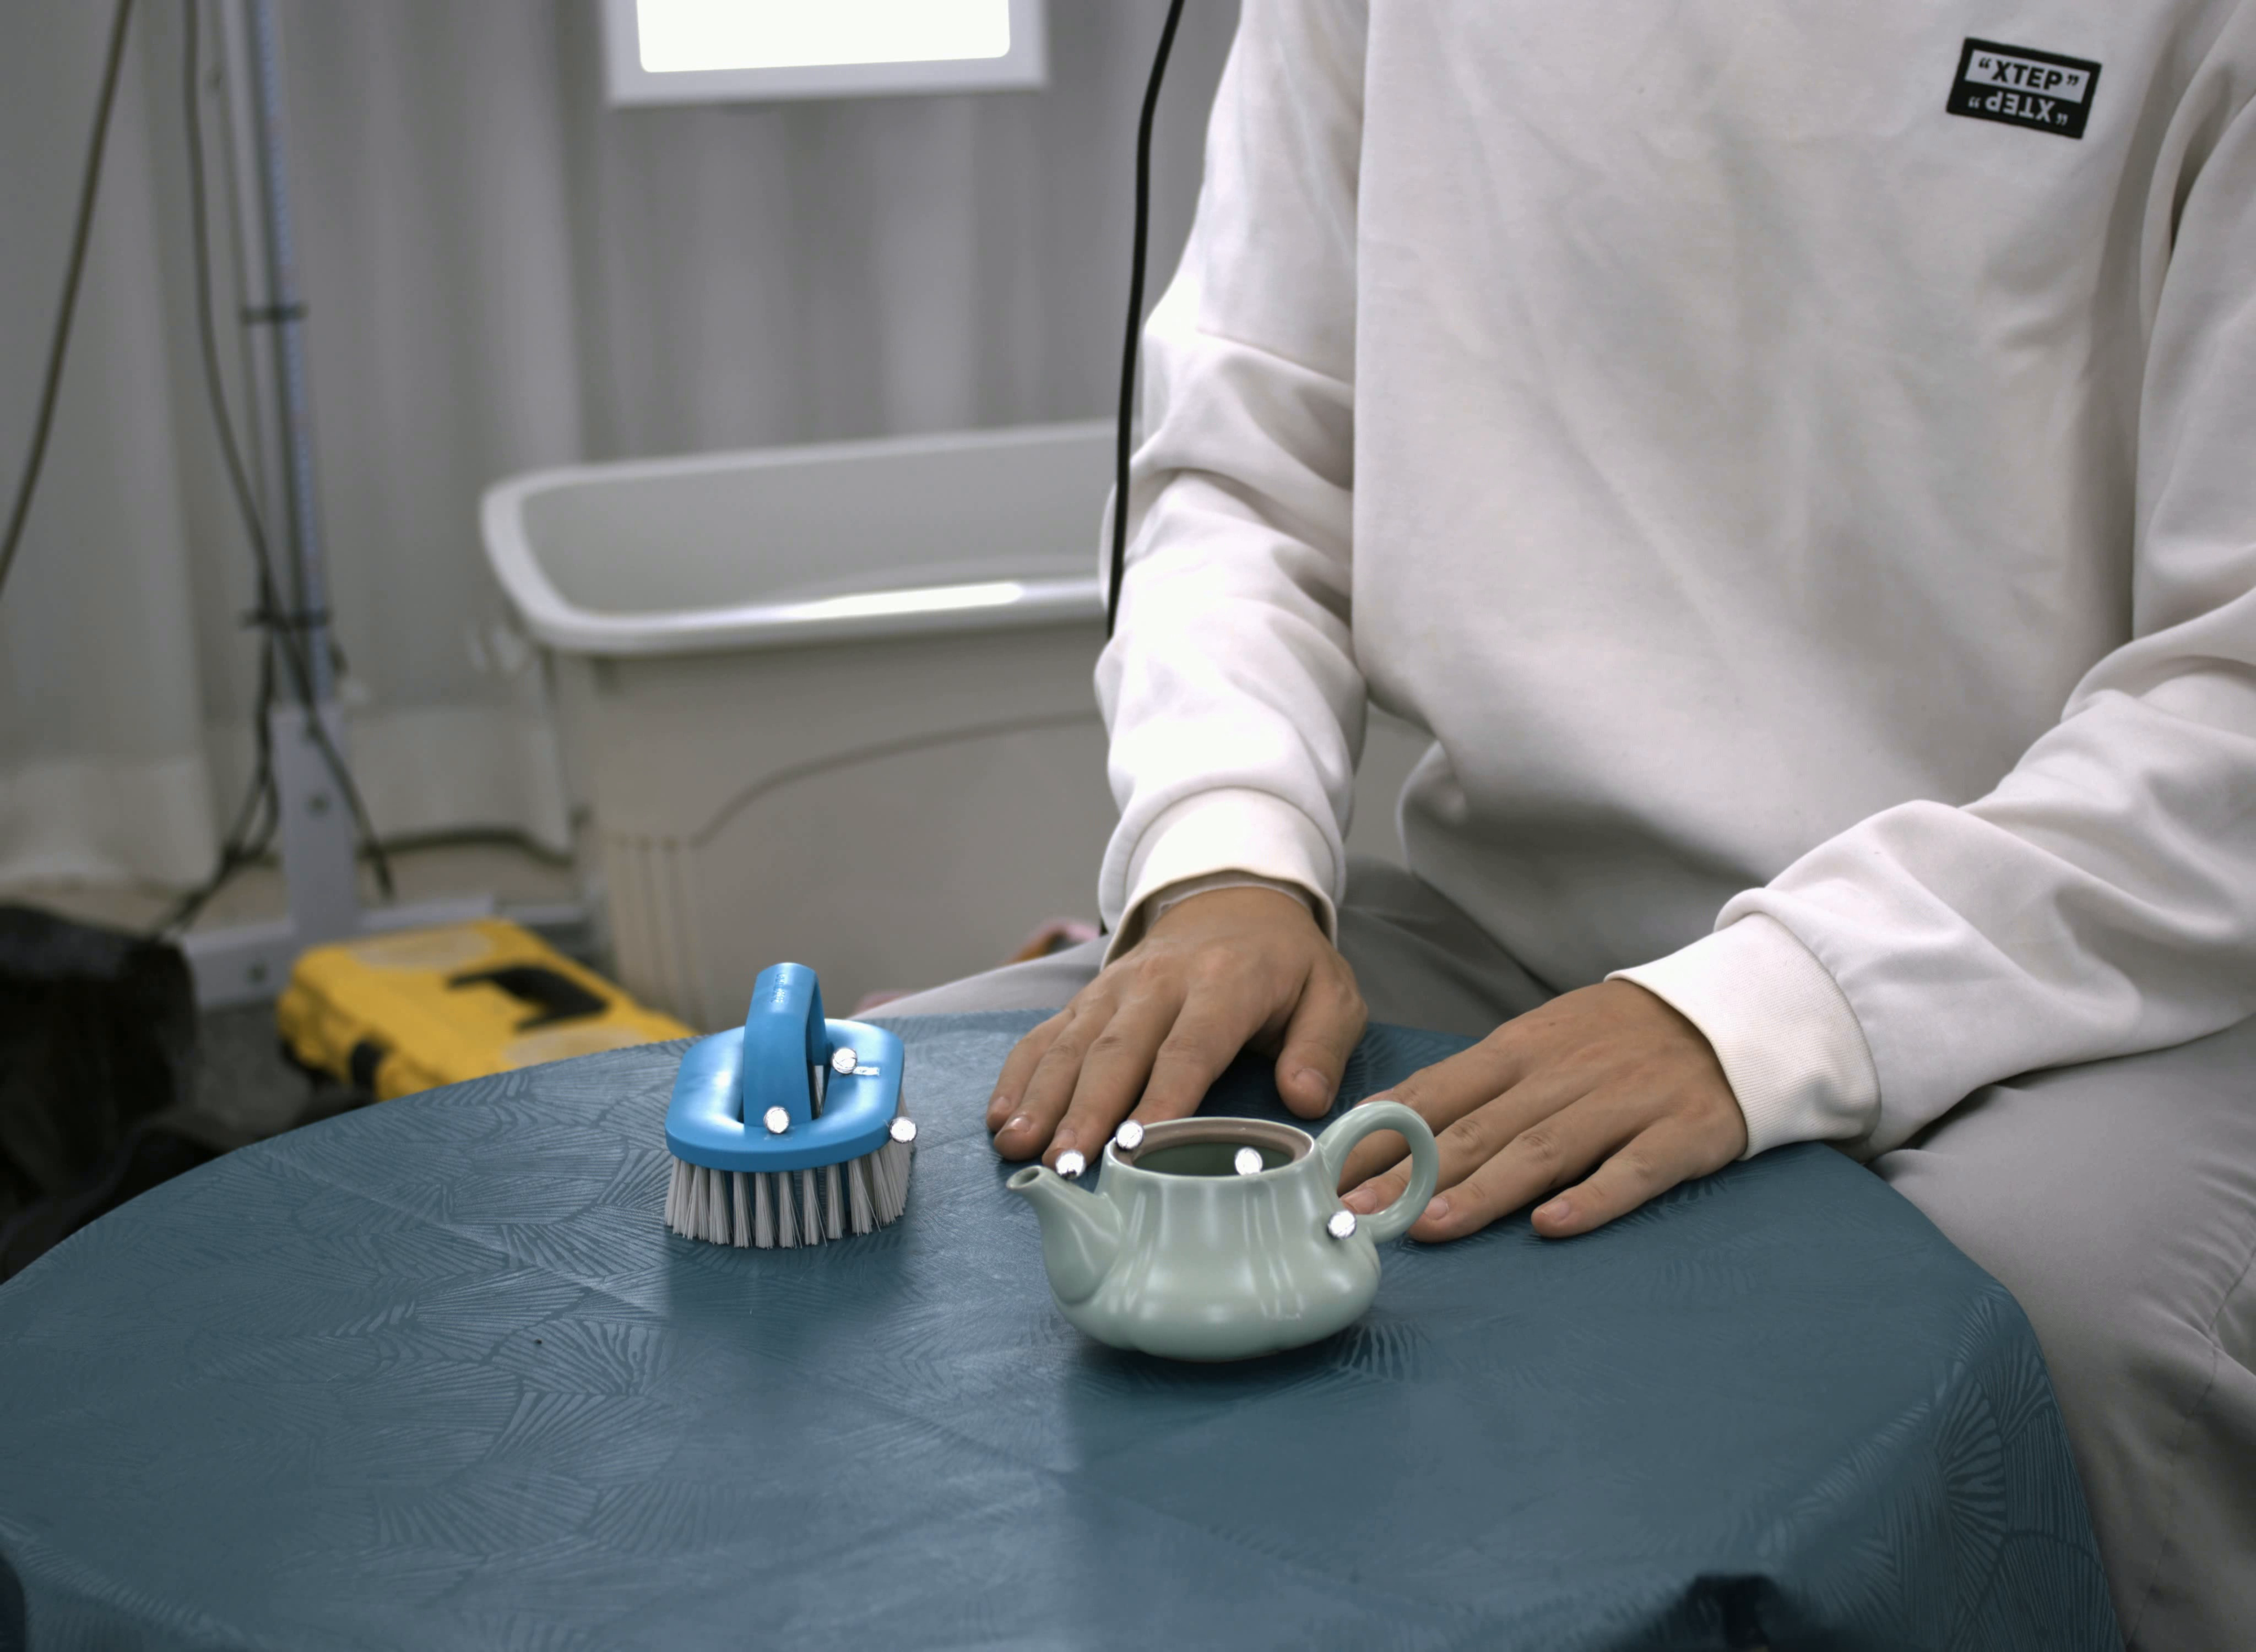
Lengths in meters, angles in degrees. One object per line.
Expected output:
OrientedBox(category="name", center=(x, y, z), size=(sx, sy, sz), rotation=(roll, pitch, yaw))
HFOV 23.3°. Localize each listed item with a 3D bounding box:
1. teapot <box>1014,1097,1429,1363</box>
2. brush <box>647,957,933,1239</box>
OrientedBox(category="teapot", center=(0.029, 0.118, 1.586), size=(0.136, 0.061, 0.097), rotation=(-10, 14, -26))
OrientedBox(category="brush", center=(-0.108, 0.080, 1.740), size=(0.084, 0.063, 0.142), rotation=(-7, 14, 4))
